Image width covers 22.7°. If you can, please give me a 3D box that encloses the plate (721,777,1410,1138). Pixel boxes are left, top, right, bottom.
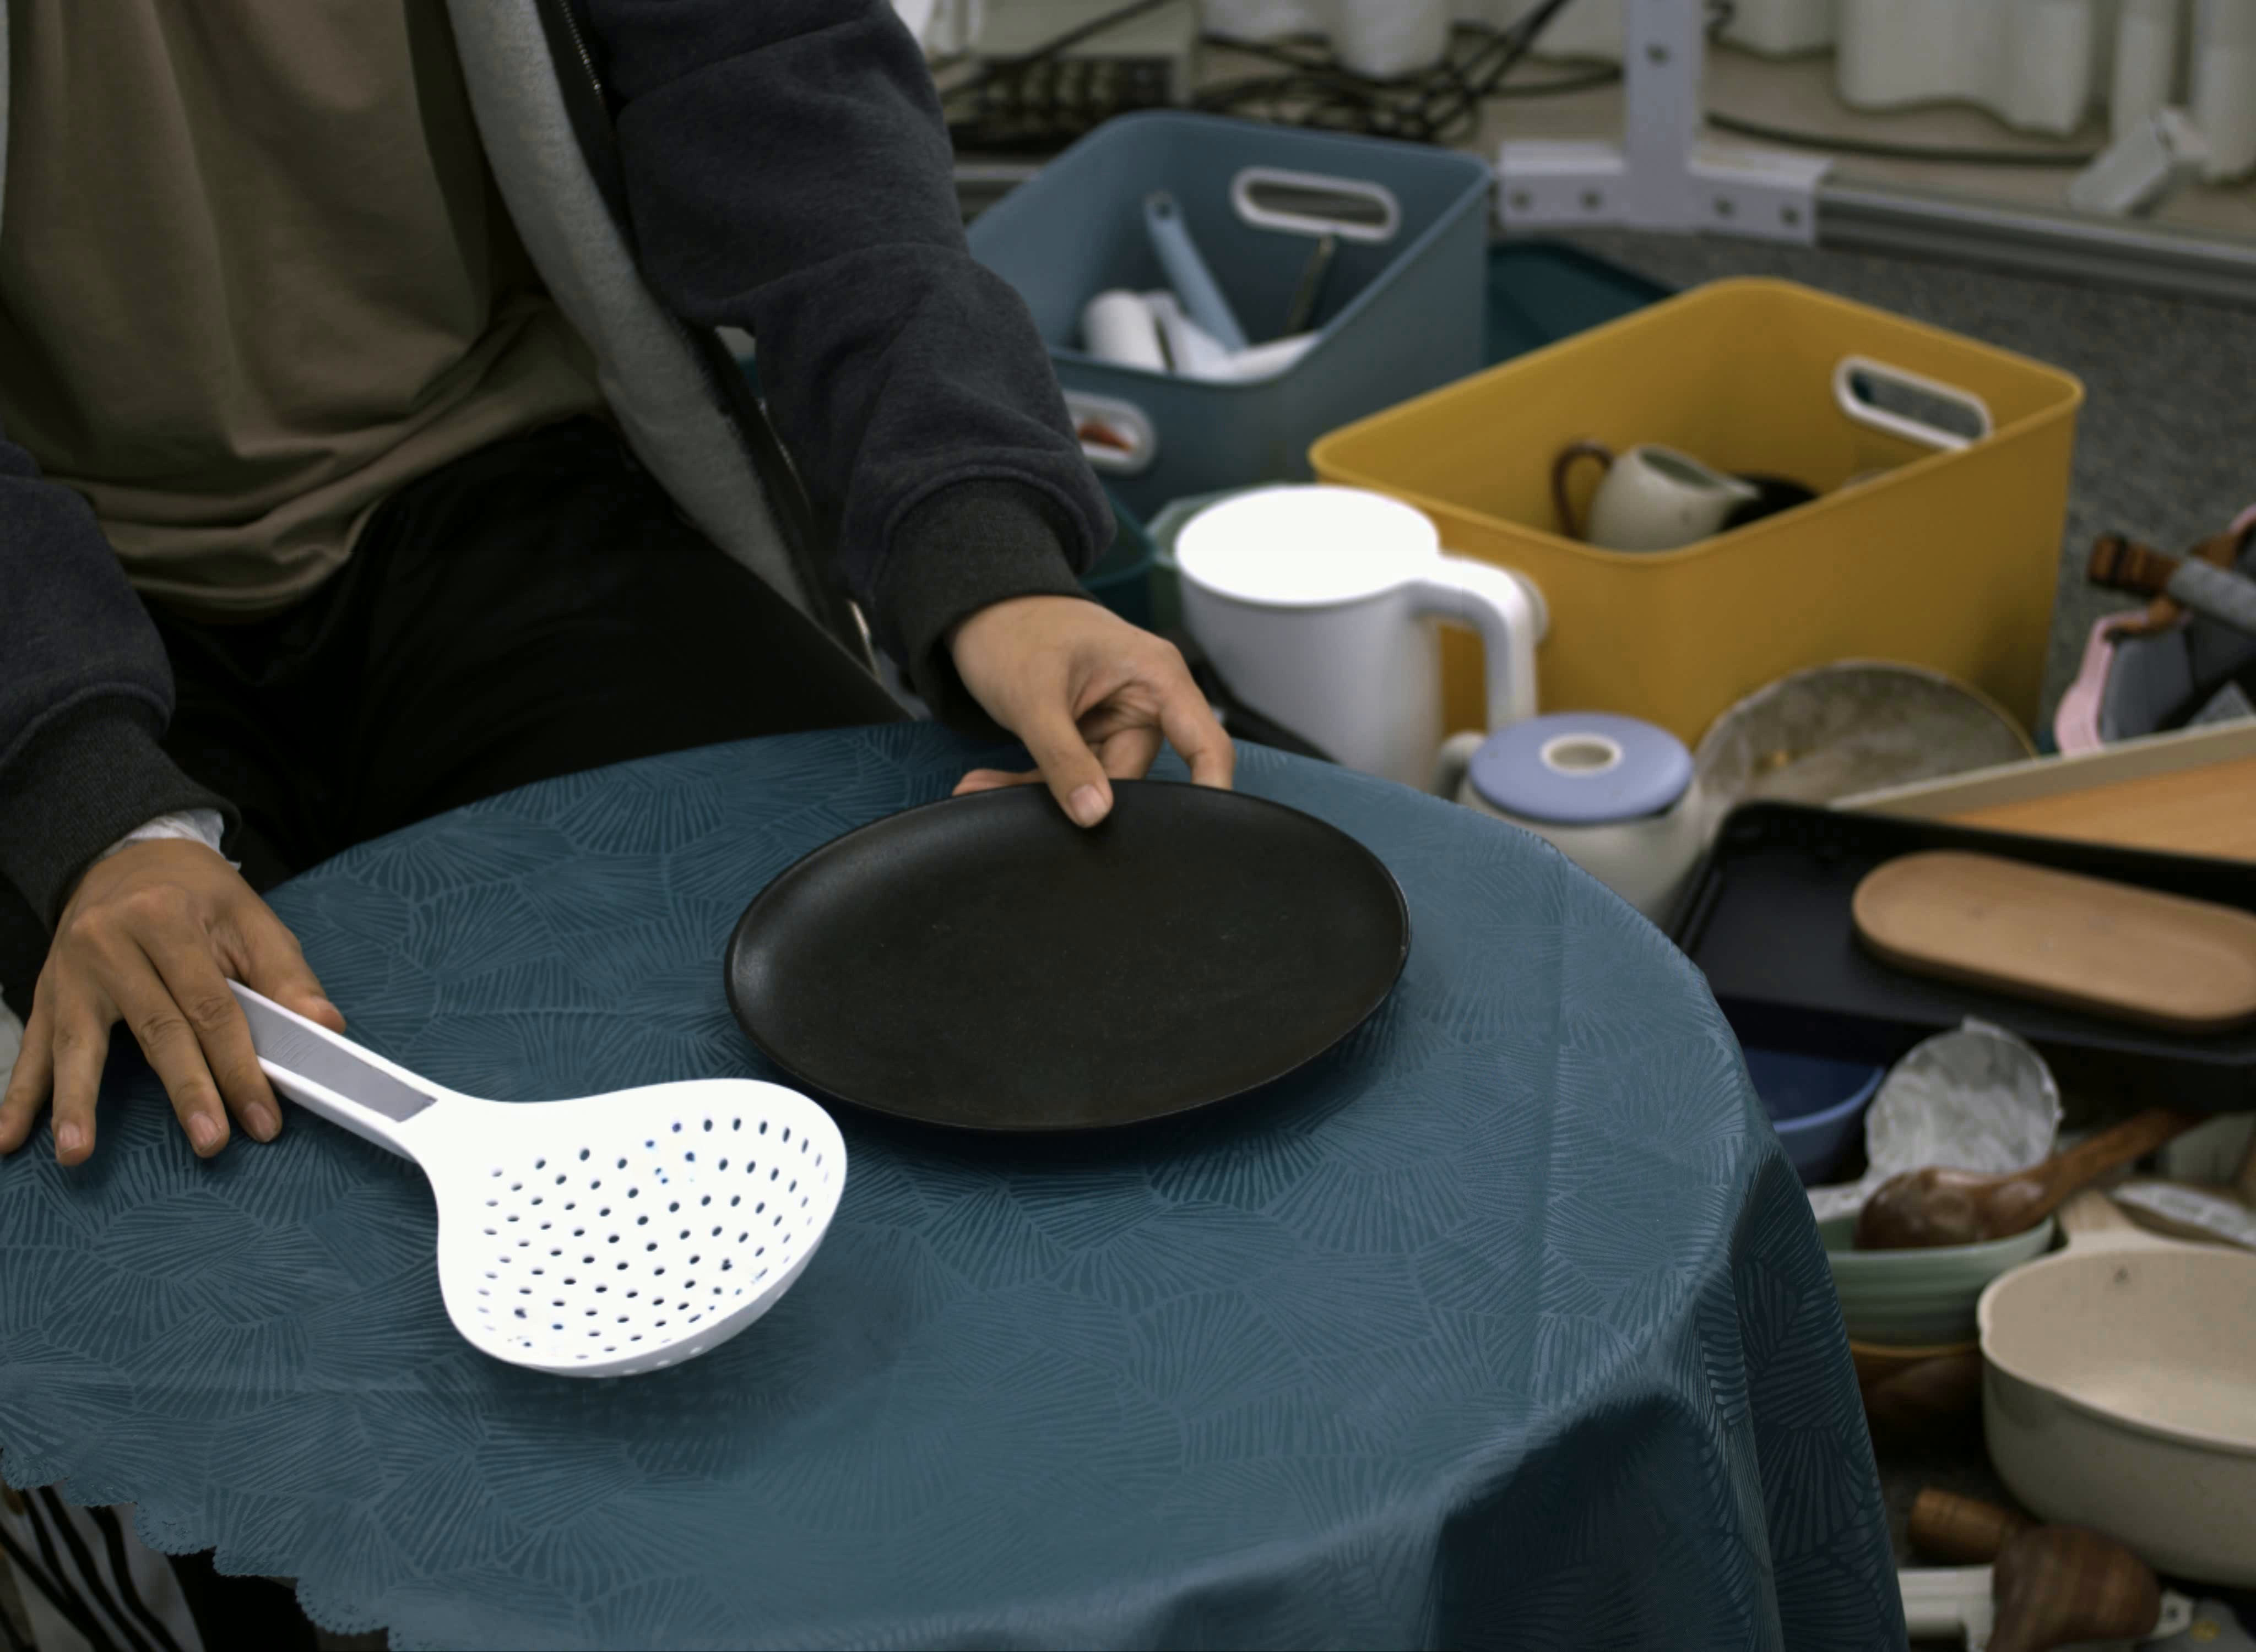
[{"bbox_3d":[-0.022,0.050,1.973,0.243,0.023,0.248,-3,29,2],"label":"plate"}]

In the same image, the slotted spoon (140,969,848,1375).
[{"bbox_3d":[-0.224,0.105,1.862,0.138,0.045,0.349,-37,41,-29],"label":"slotted spoon"}]
